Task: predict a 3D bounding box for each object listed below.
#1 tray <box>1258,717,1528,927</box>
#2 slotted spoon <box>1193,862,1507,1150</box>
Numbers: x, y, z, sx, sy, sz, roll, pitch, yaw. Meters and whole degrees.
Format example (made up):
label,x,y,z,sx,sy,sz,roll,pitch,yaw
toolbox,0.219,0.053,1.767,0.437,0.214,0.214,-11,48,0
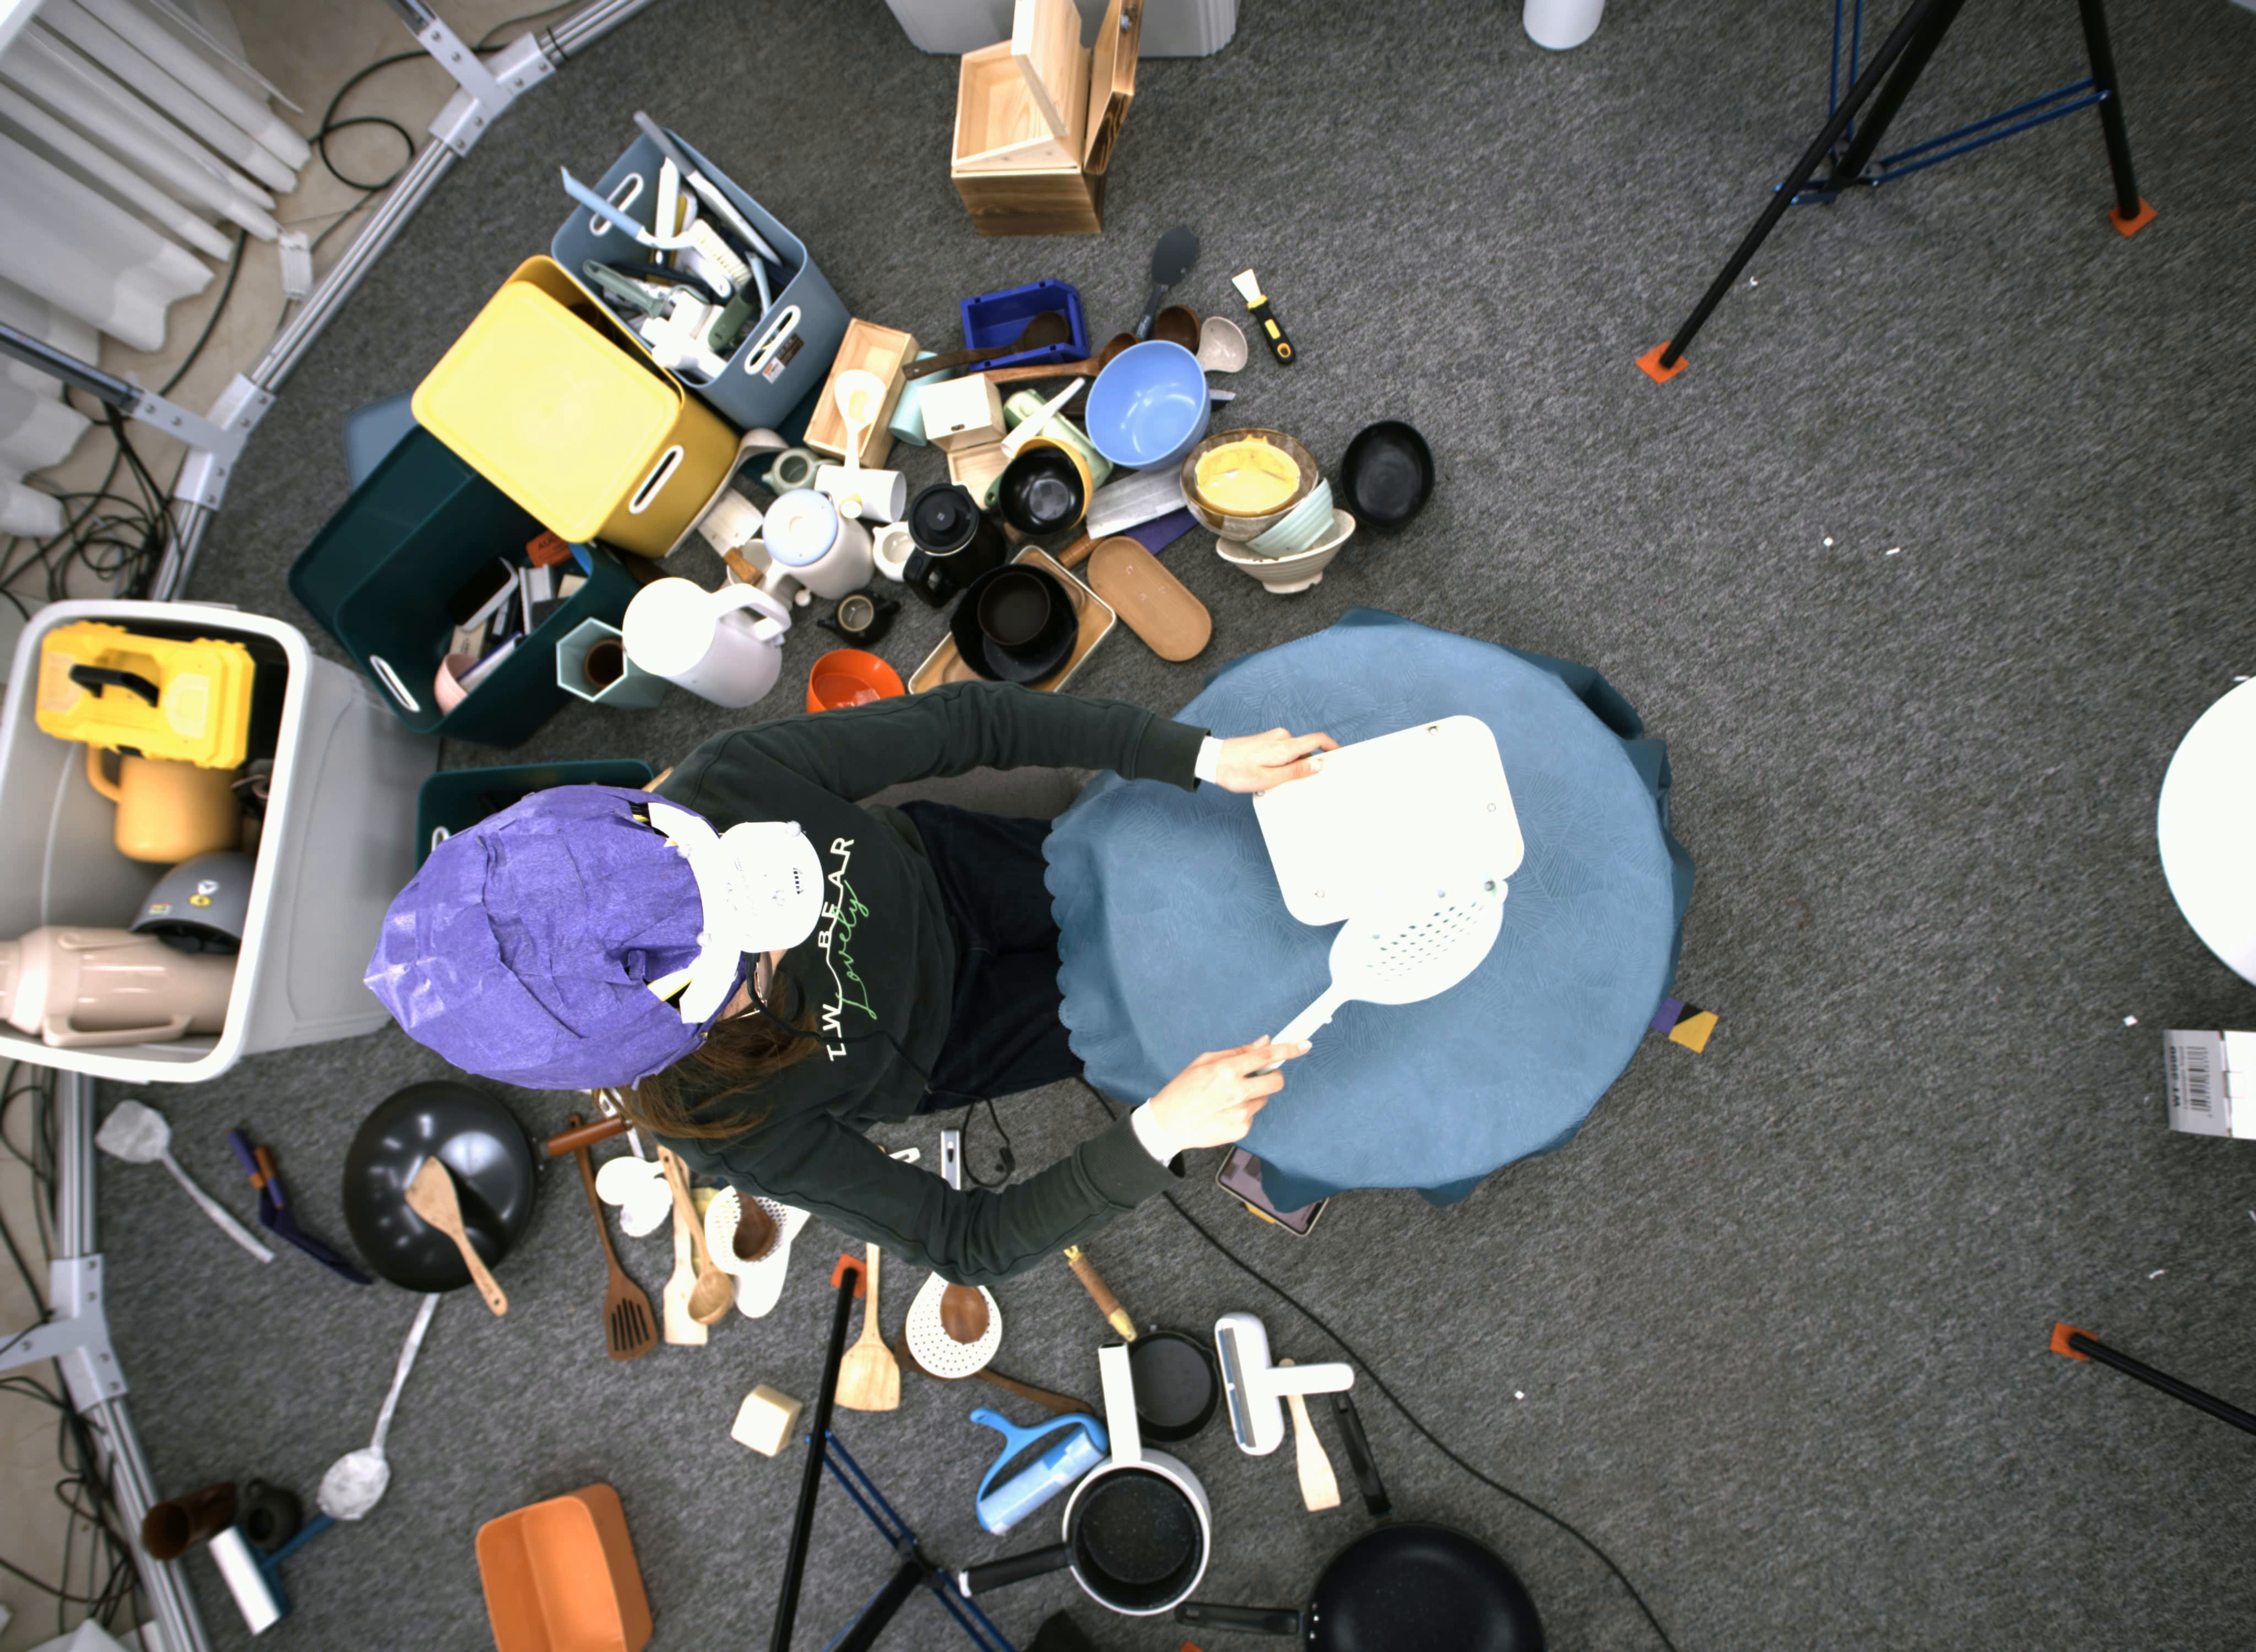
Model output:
label,x,y,z,sx,sy,sz,roll,pitch,yaw
tray,0.258,-0.004,1.351,0.242,0.017,0.173,-16,105,17
slotted spoon,0.191,0.158,1.238,0.356,0.169,0.076,-33,107,-12
